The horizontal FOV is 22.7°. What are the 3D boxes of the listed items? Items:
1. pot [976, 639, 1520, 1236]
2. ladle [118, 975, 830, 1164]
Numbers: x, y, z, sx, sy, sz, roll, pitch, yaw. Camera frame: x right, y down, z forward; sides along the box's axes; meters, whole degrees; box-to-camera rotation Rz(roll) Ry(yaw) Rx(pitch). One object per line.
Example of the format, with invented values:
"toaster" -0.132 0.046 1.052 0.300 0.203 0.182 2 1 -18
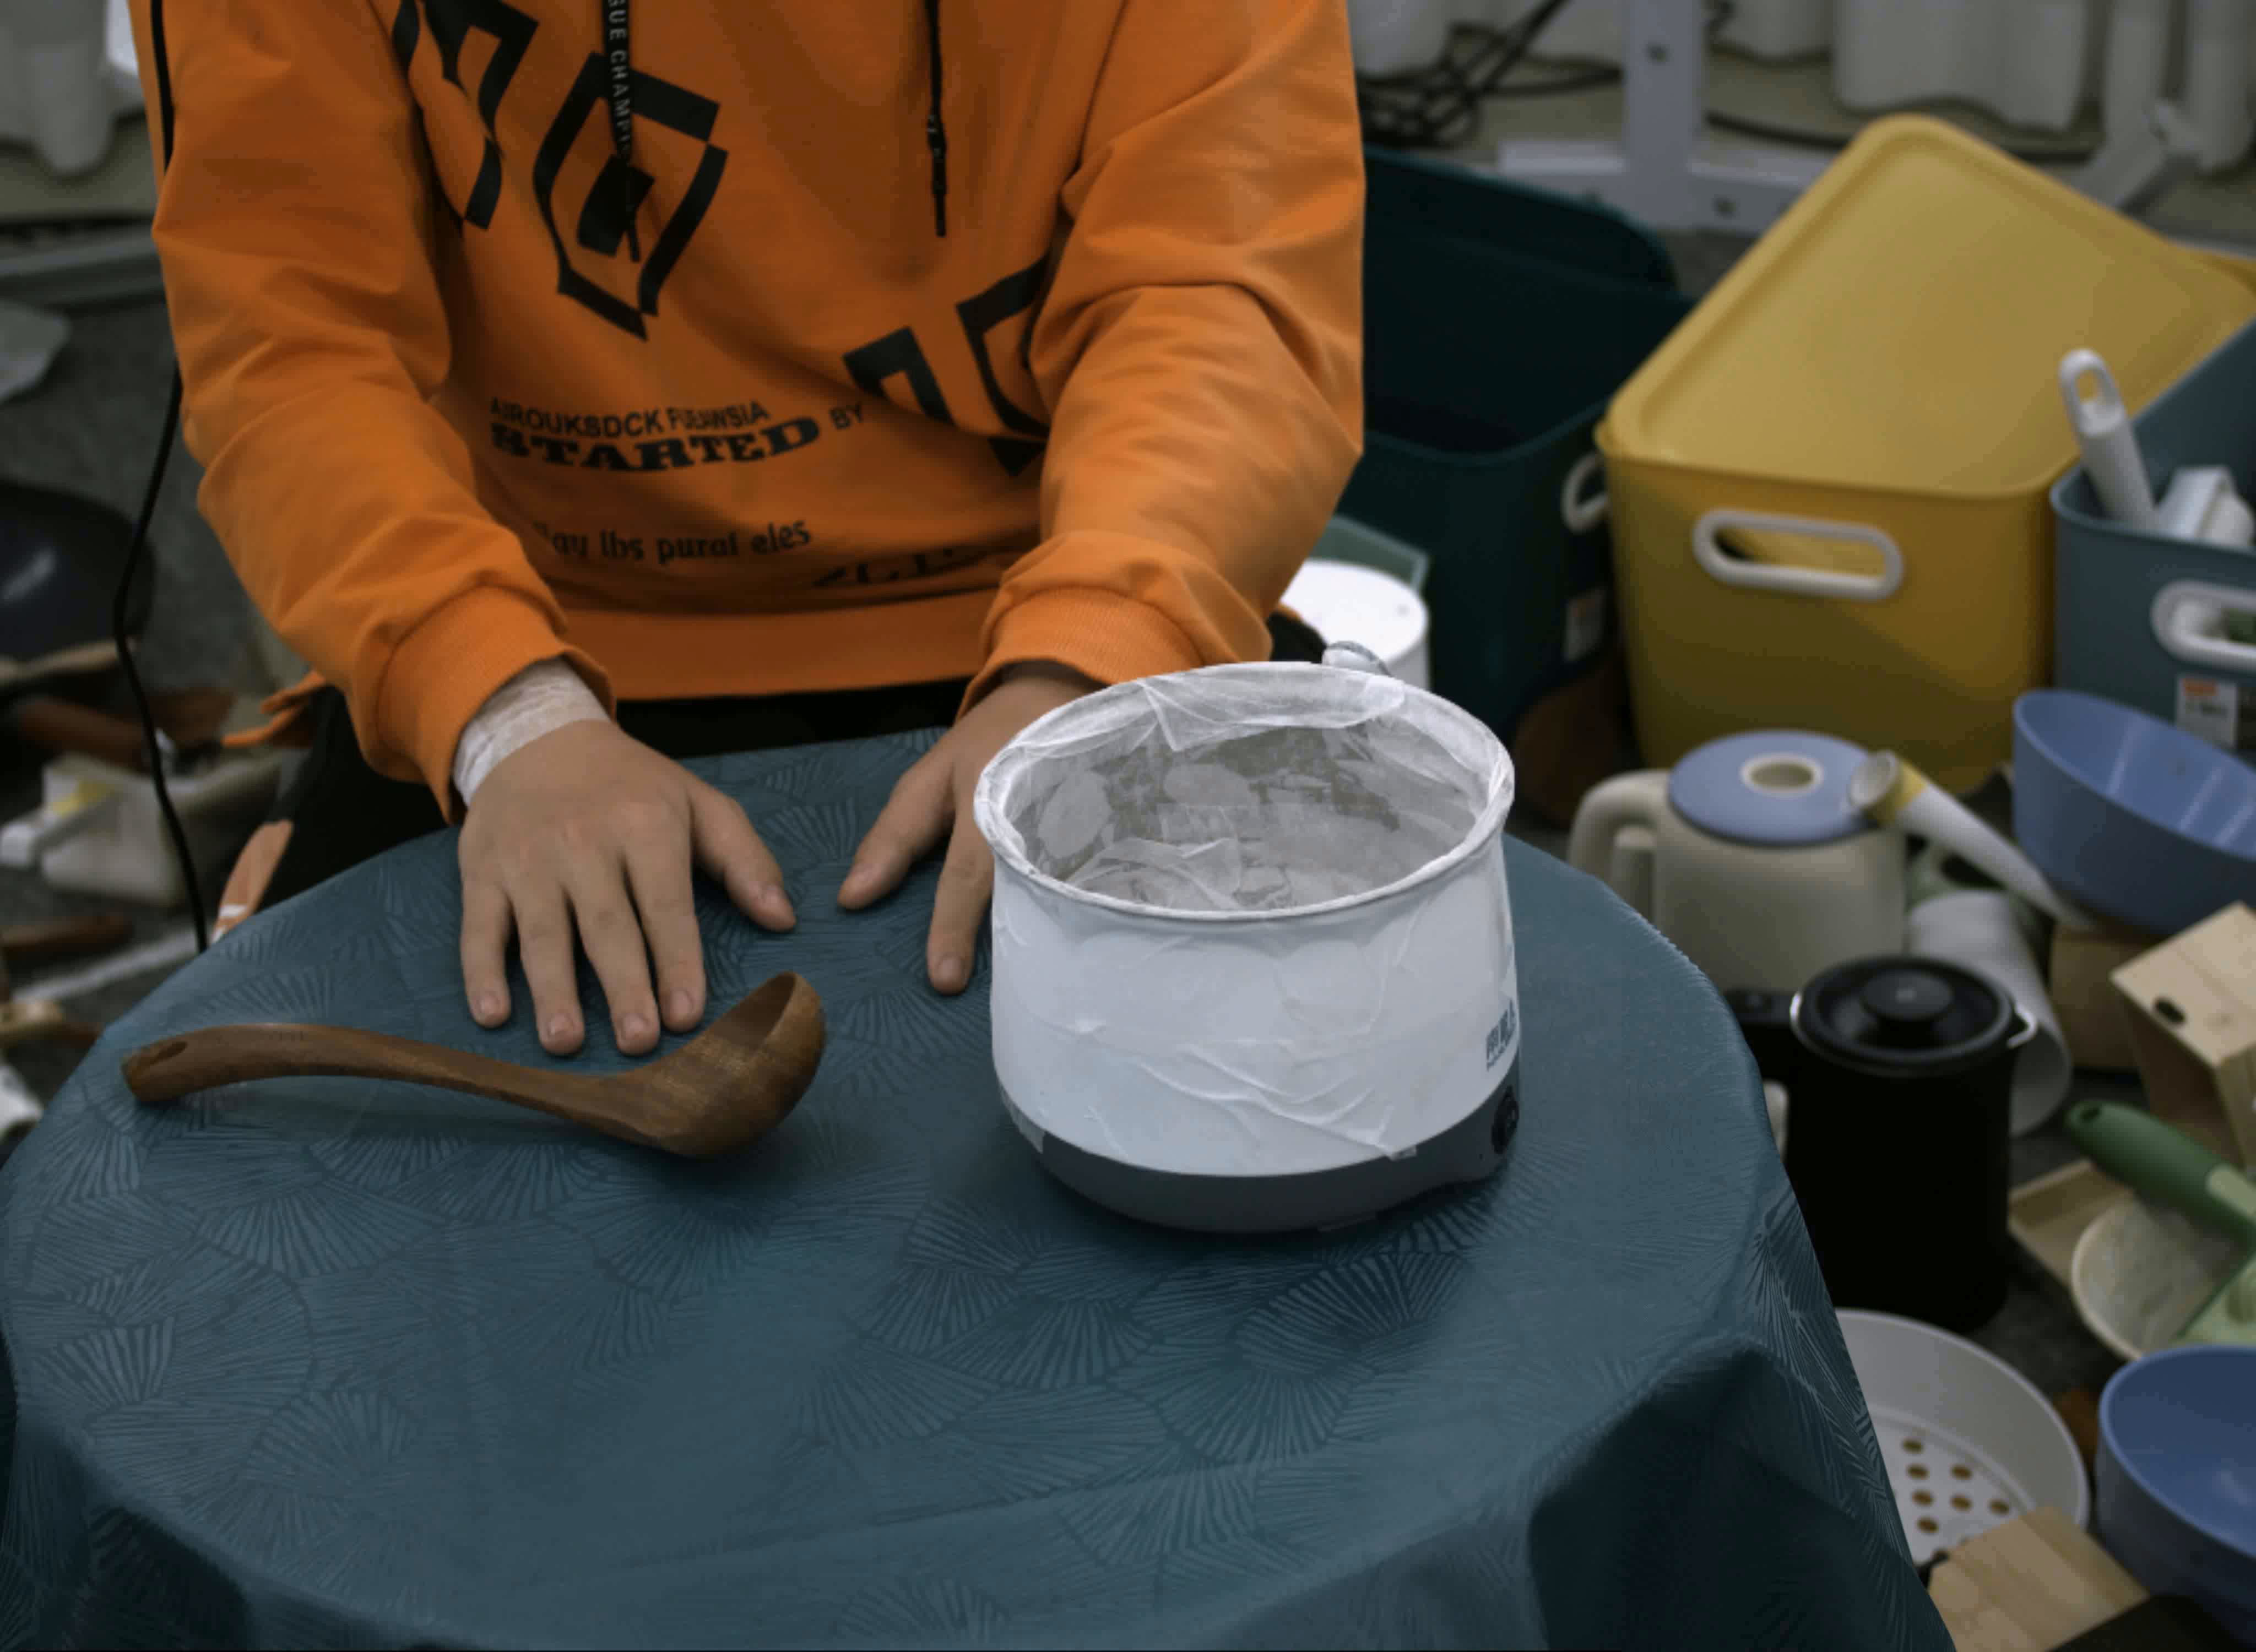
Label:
"pot" 0.051 0.030 1.887 0.177 0.135 0.238 7 29 19
"ladle" -0.225 0.076 1.905 0.258 0.064 0.078 5 29 14
